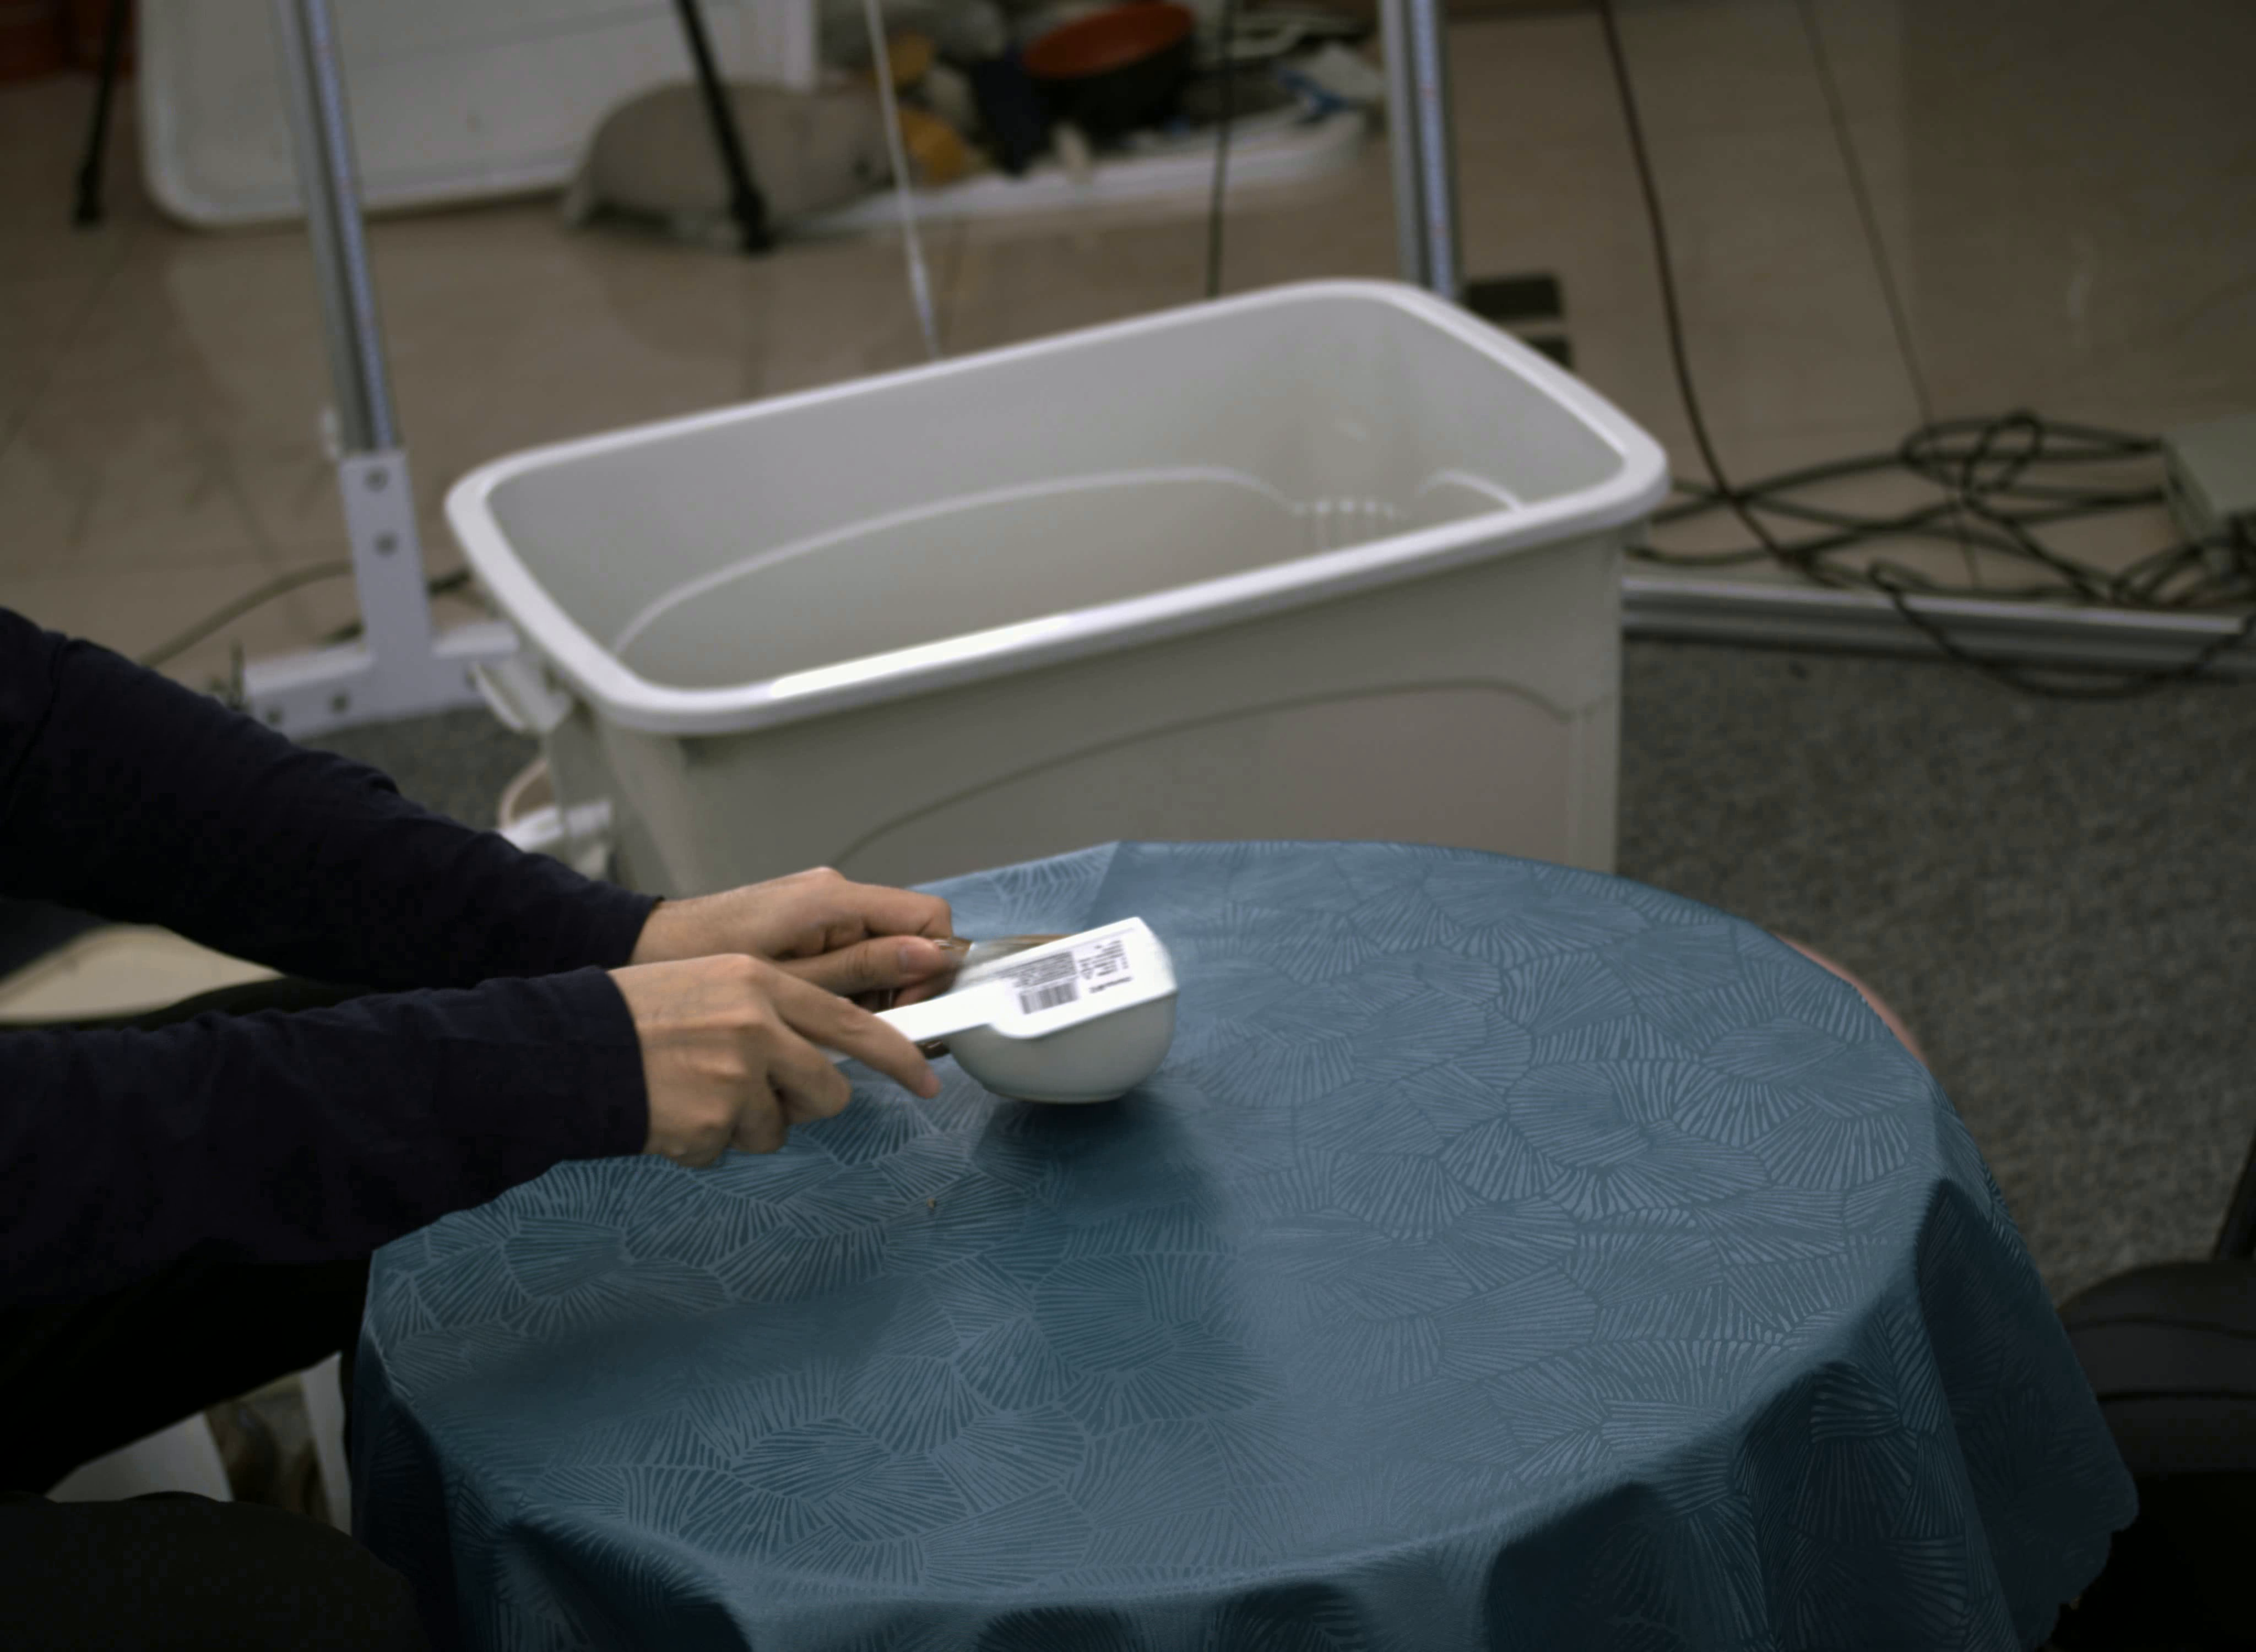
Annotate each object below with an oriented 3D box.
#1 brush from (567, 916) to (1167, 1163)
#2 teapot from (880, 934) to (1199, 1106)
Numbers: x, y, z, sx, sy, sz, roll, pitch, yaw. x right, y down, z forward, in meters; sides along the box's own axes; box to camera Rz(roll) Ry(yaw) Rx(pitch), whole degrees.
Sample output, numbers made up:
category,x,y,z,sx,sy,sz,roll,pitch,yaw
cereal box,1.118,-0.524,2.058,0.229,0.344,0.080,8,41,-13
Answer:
category,x,y,z,sx,sy,sz,roll,pitch,yaw
brush,-0.097,0.082,2.117,0.242,0.034,0.050,-18,-4,-17
teapot,-0.035,0.074,2.210,0.128,0.060,0.091,6,12,13
